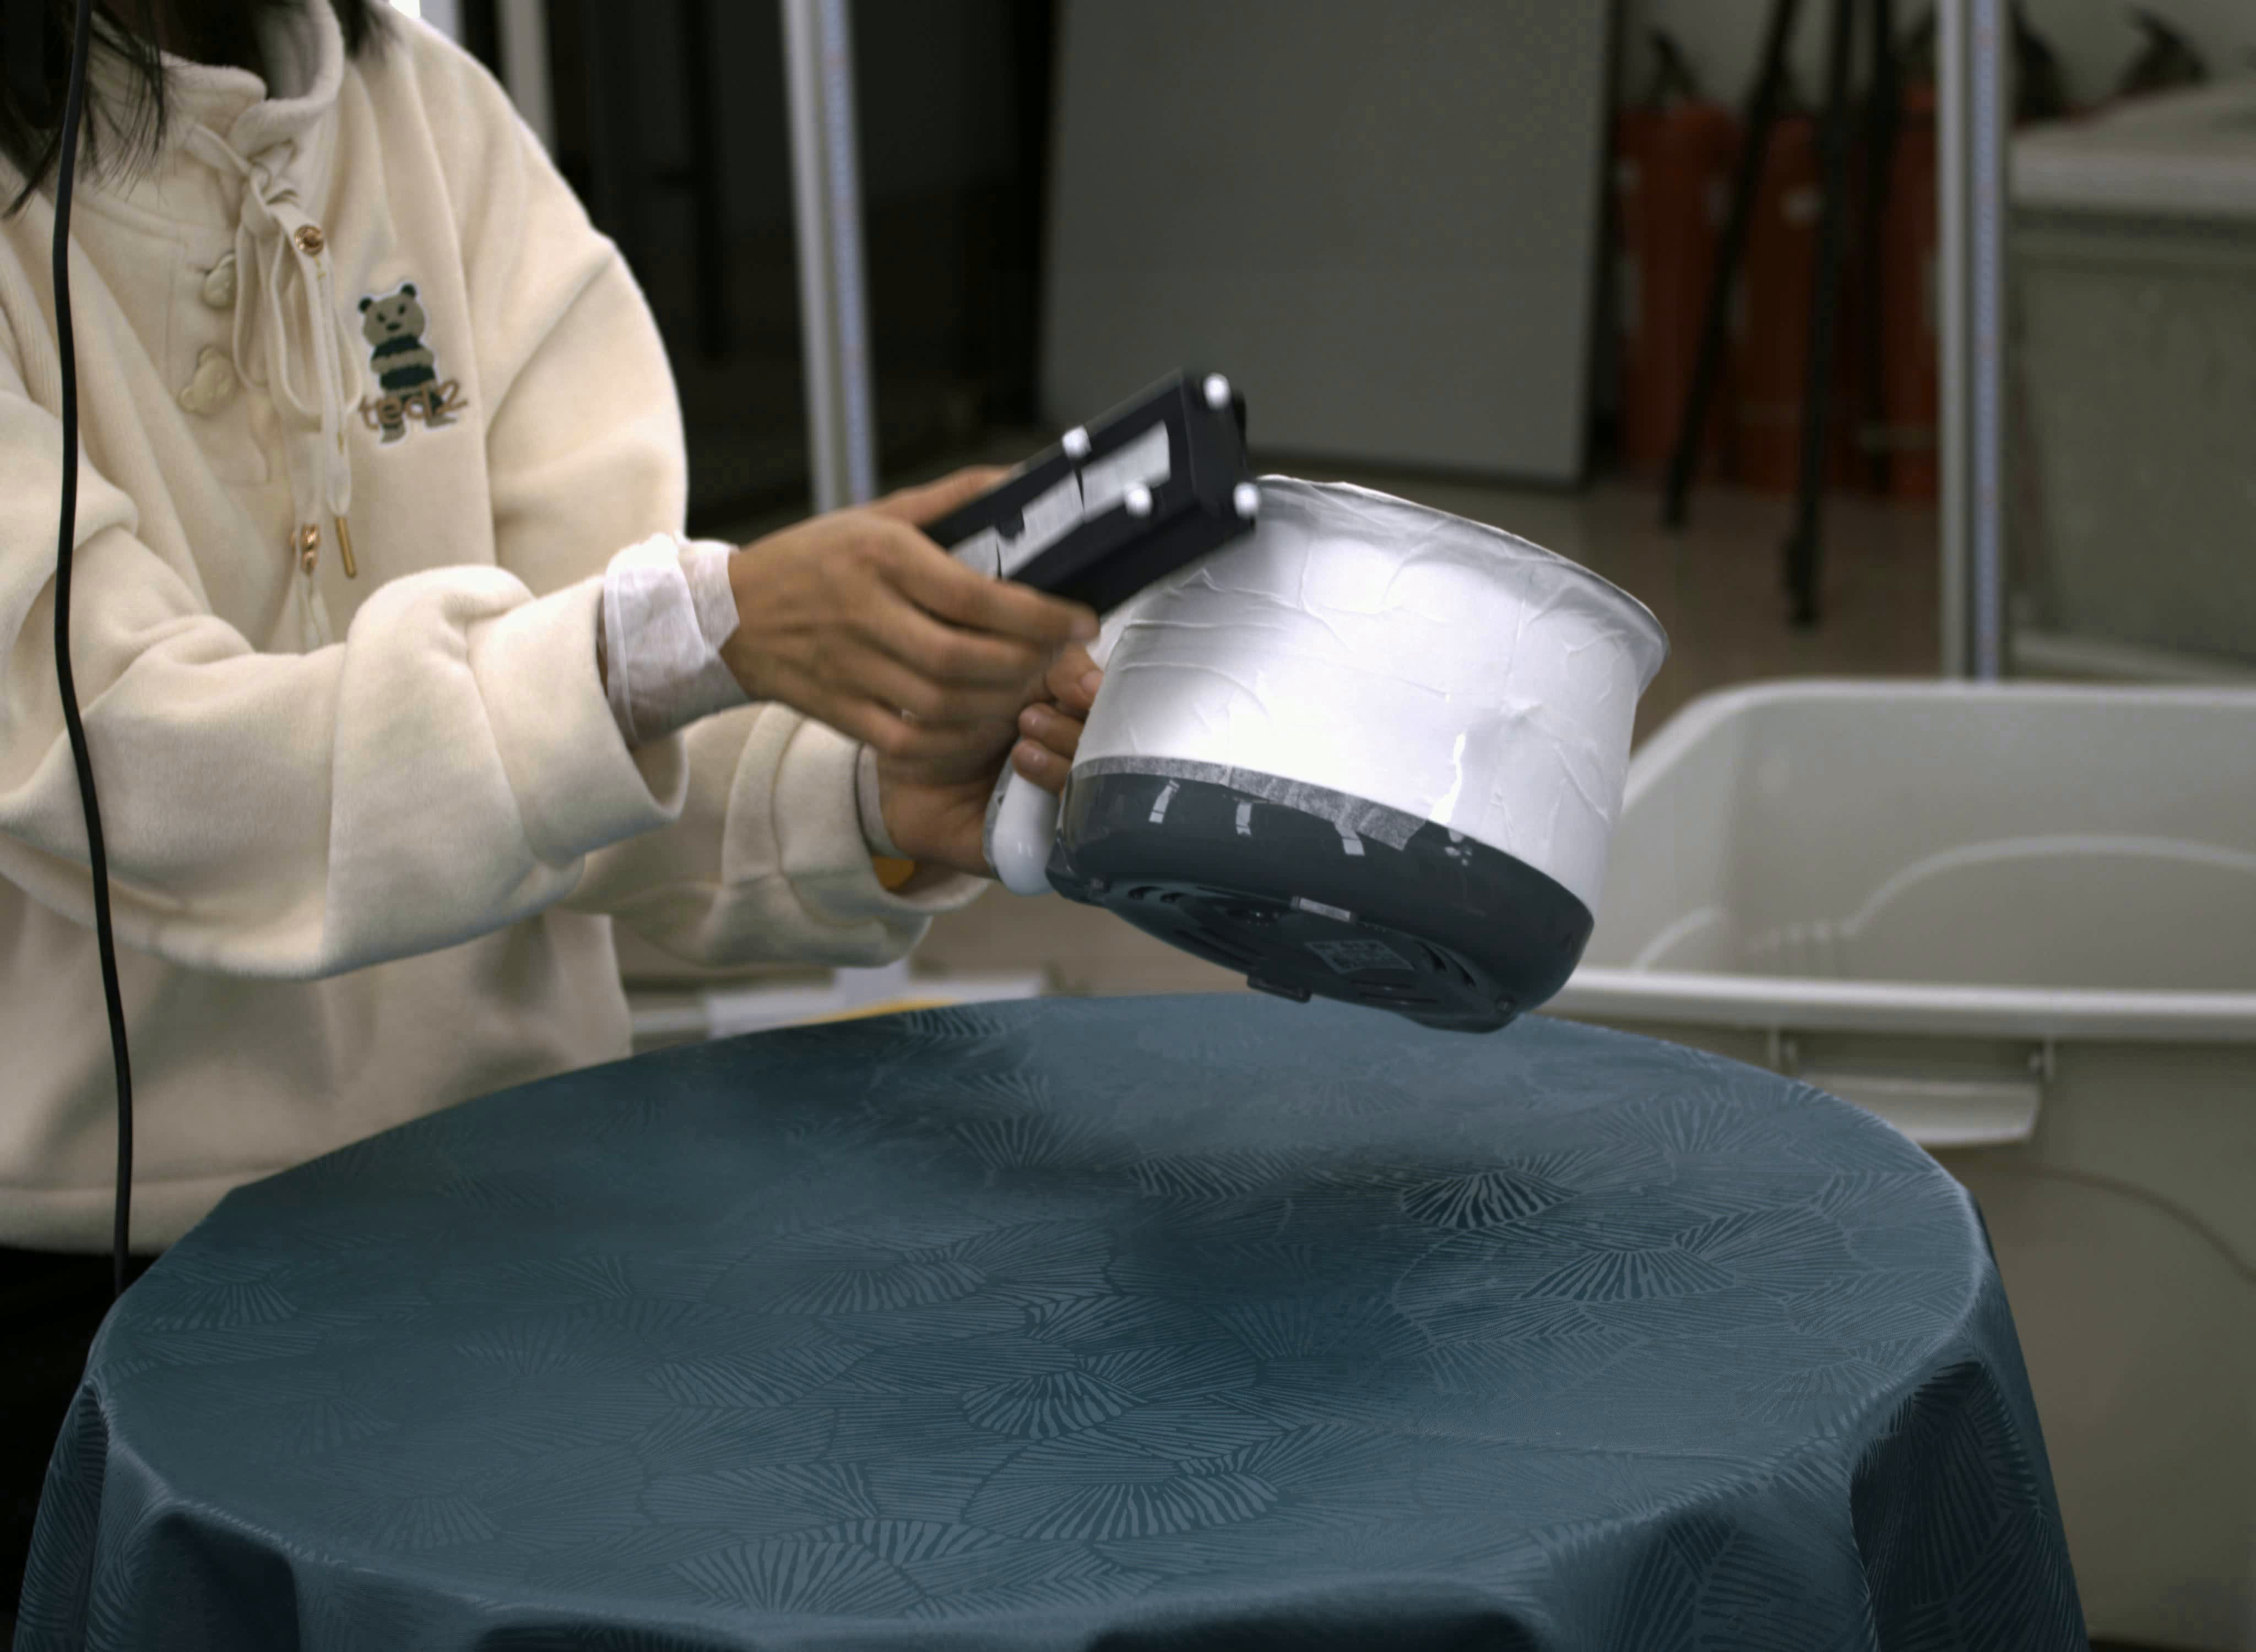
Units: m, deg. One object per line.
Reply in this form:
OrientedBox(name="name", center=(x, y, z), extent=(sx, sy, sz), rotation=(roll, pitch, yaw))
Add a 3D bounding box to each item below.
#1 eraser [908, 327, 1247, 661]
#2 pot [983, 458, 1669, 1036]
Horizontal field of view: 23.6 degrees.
OrientedBox(name="eraser", center=(-0.016, -0.103, 1.684), extent=(0.030, 0.054, 0.126), rotation=(22, -41, -40))
OrientedBox(name="pot", center=(0.052, -0.024, 1.754), extent=(0.236, 0.138, 0.175), rotation=(5, -18, 43))
